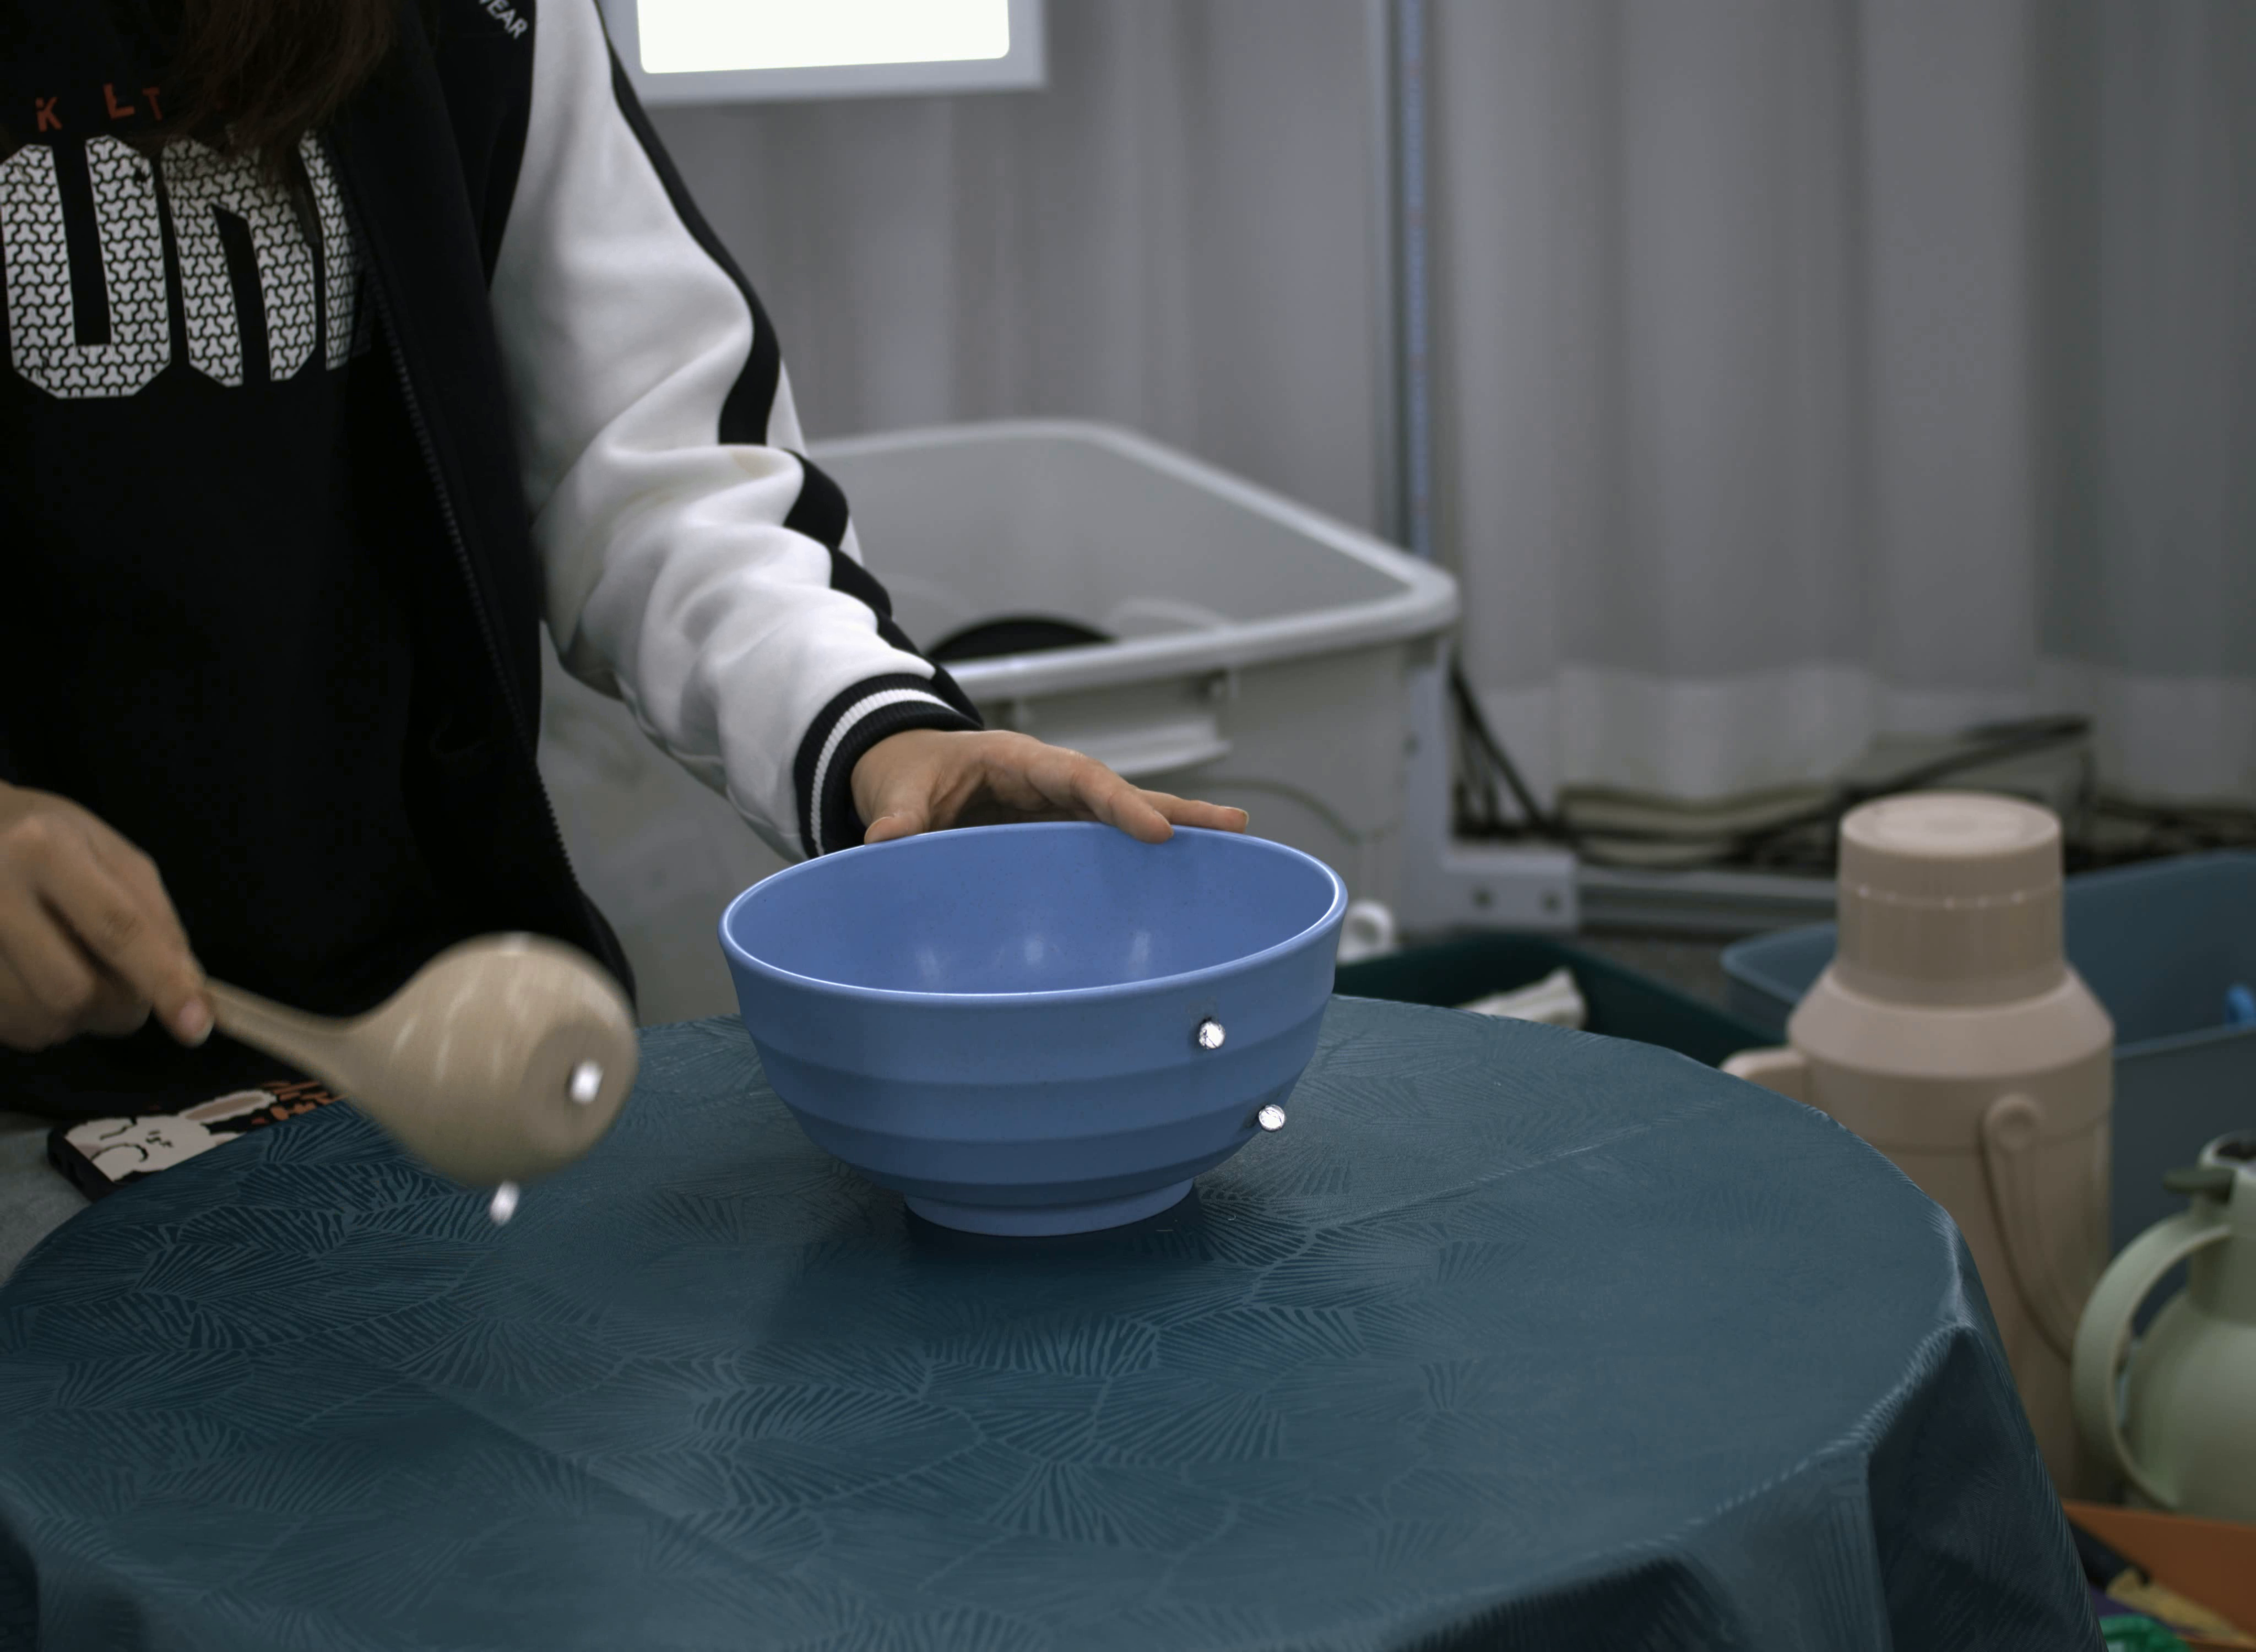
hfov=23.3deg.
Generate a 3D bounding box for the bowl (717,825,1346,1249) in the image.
[{"bbox_3d":[-0.027,0.072,1.709,0.196,0.095,0.198,-4,15,1],"label":"bowl"}]

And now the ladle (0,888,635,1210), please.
[{"bbox_3d":[-0.245,0.049,1.631,0.072,0.071,0.256,-18,26,-38],"label":"ladle"}]
